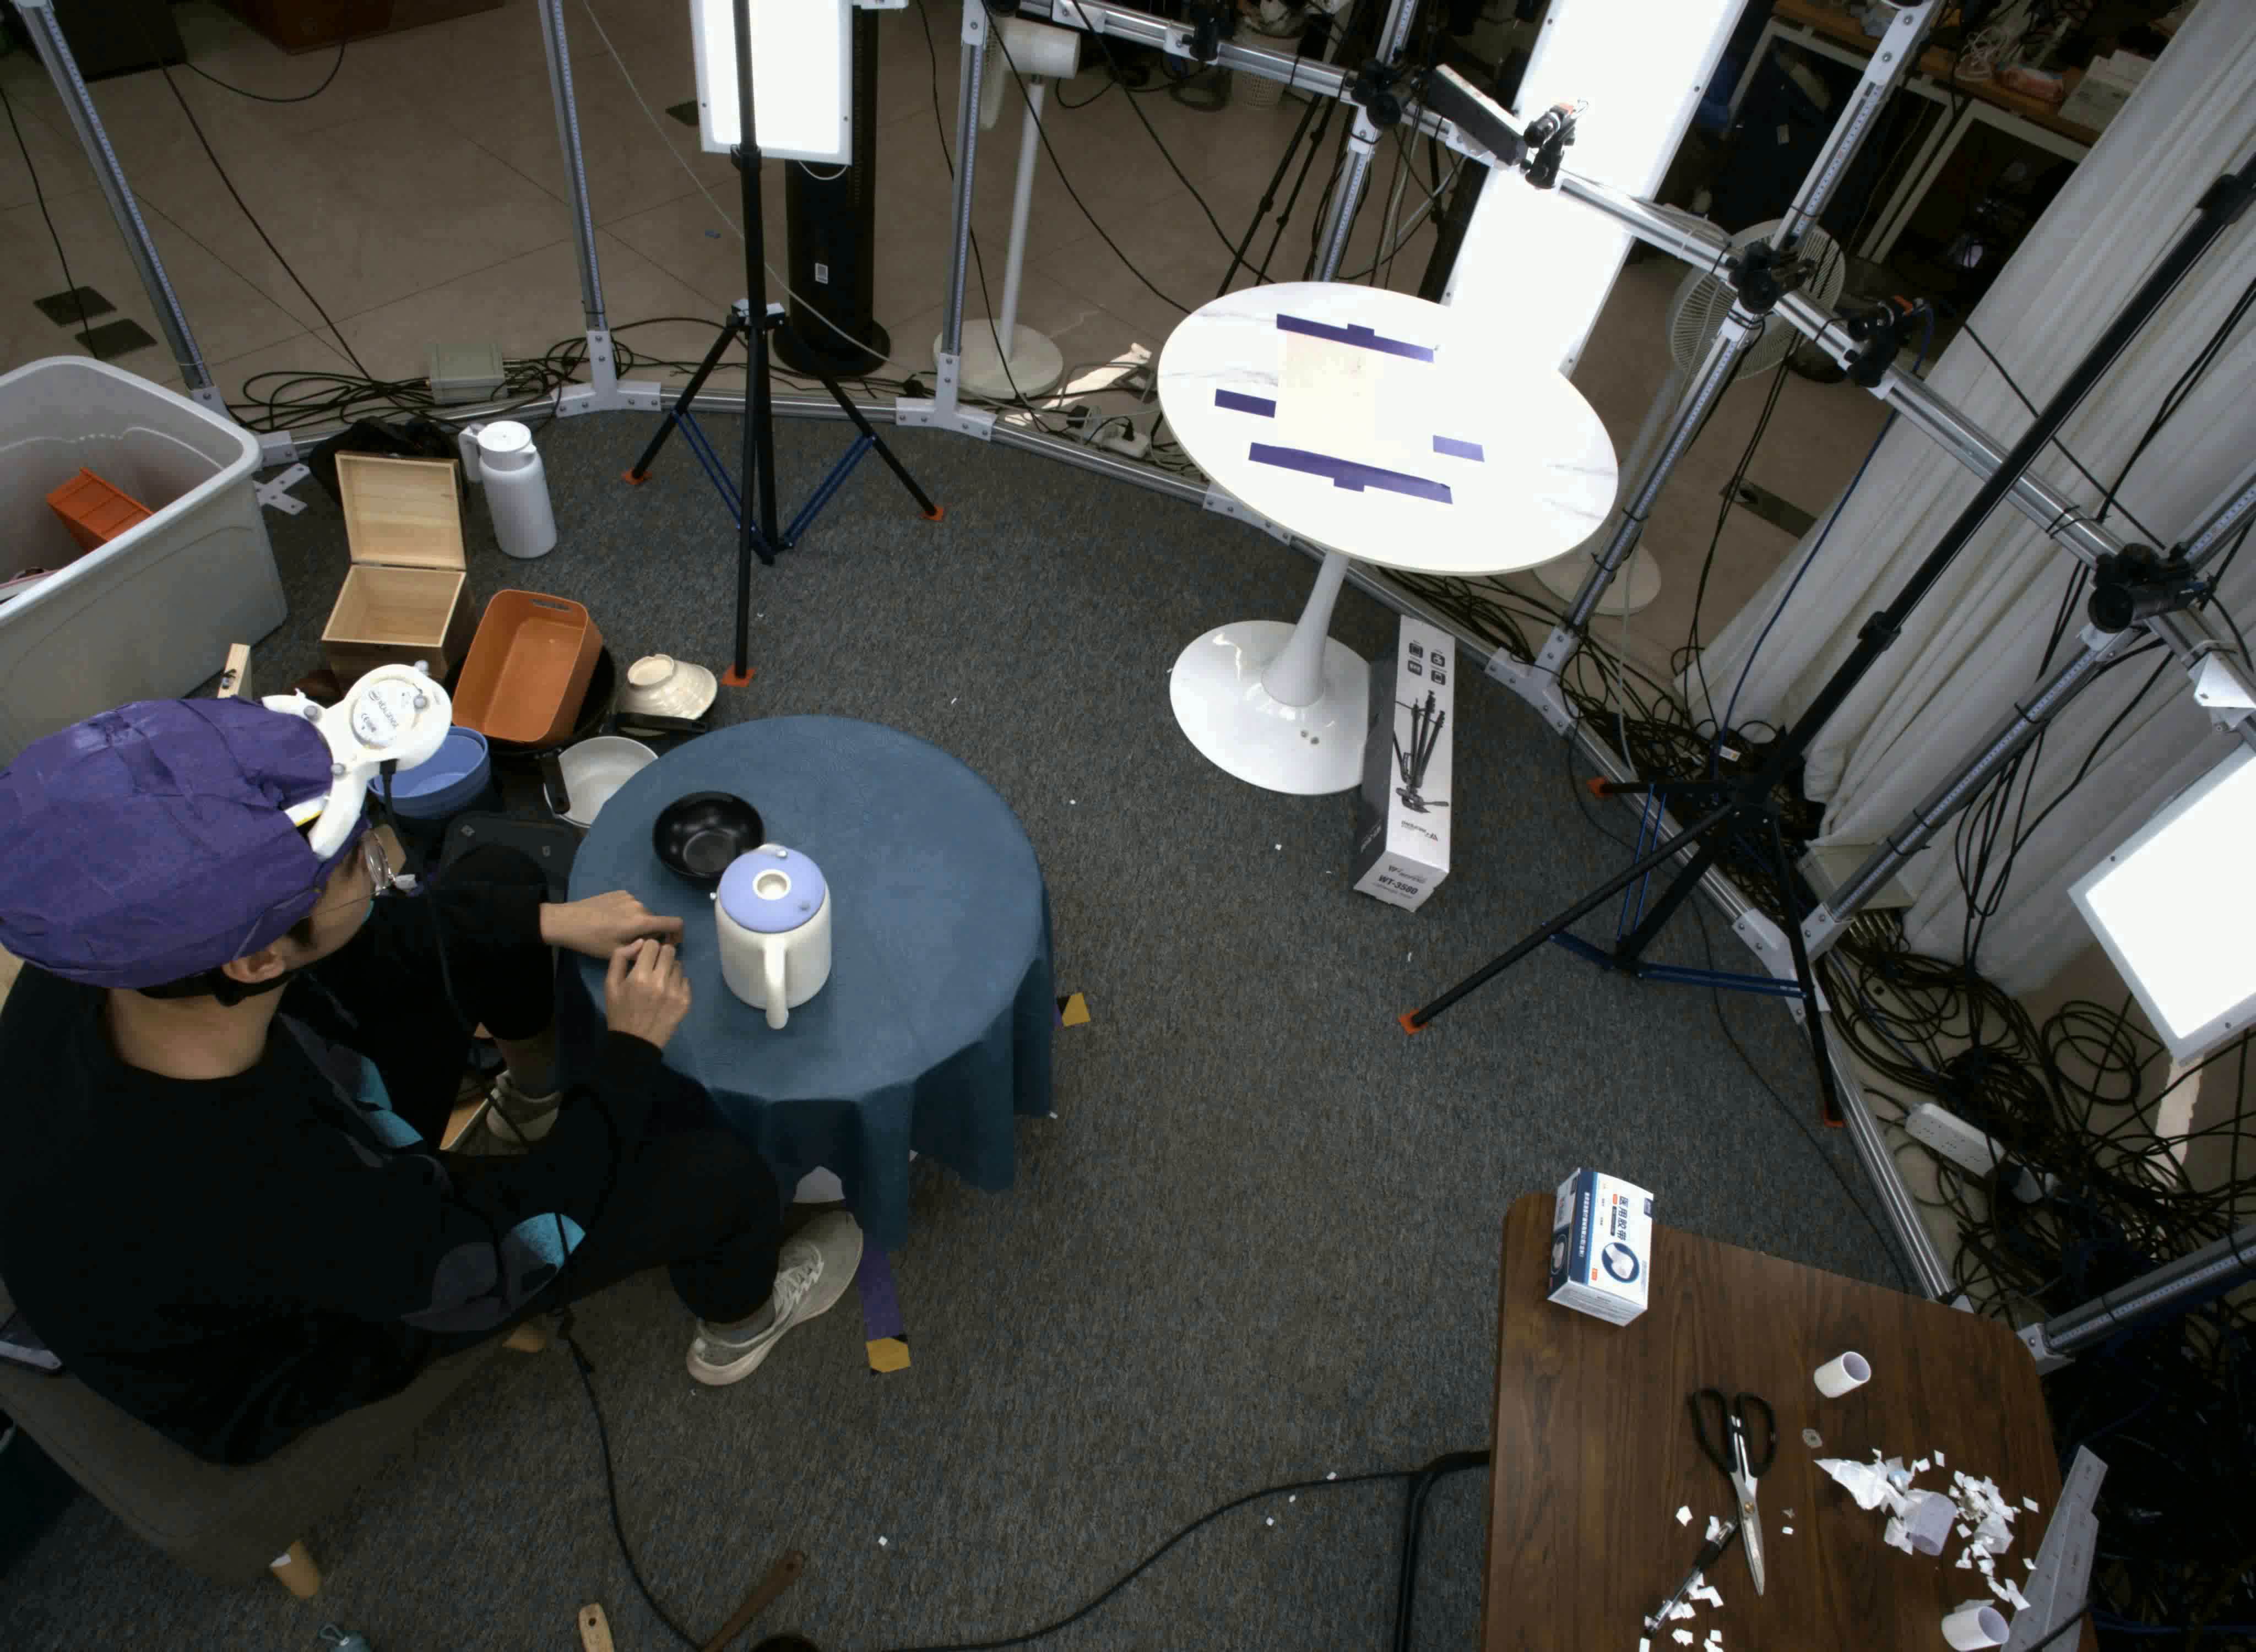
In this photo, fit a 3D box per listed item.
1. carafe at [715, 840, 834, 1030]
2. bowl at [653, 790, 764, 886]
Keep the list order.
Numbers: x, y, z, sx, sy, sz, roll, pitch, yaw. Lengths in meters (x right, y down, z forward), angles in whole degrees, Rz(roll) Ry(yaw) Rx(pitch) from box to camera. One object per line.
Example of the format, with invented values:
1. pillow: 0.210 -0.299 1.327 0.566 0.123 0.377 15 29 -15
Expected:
1. carafe: -0.412 0.139 1.521 0.132 0.186 0.187 -5 57 -15
2. bowl: -0.535 0.022 1.653 0.140 0.051 0.137 7 55 -8
